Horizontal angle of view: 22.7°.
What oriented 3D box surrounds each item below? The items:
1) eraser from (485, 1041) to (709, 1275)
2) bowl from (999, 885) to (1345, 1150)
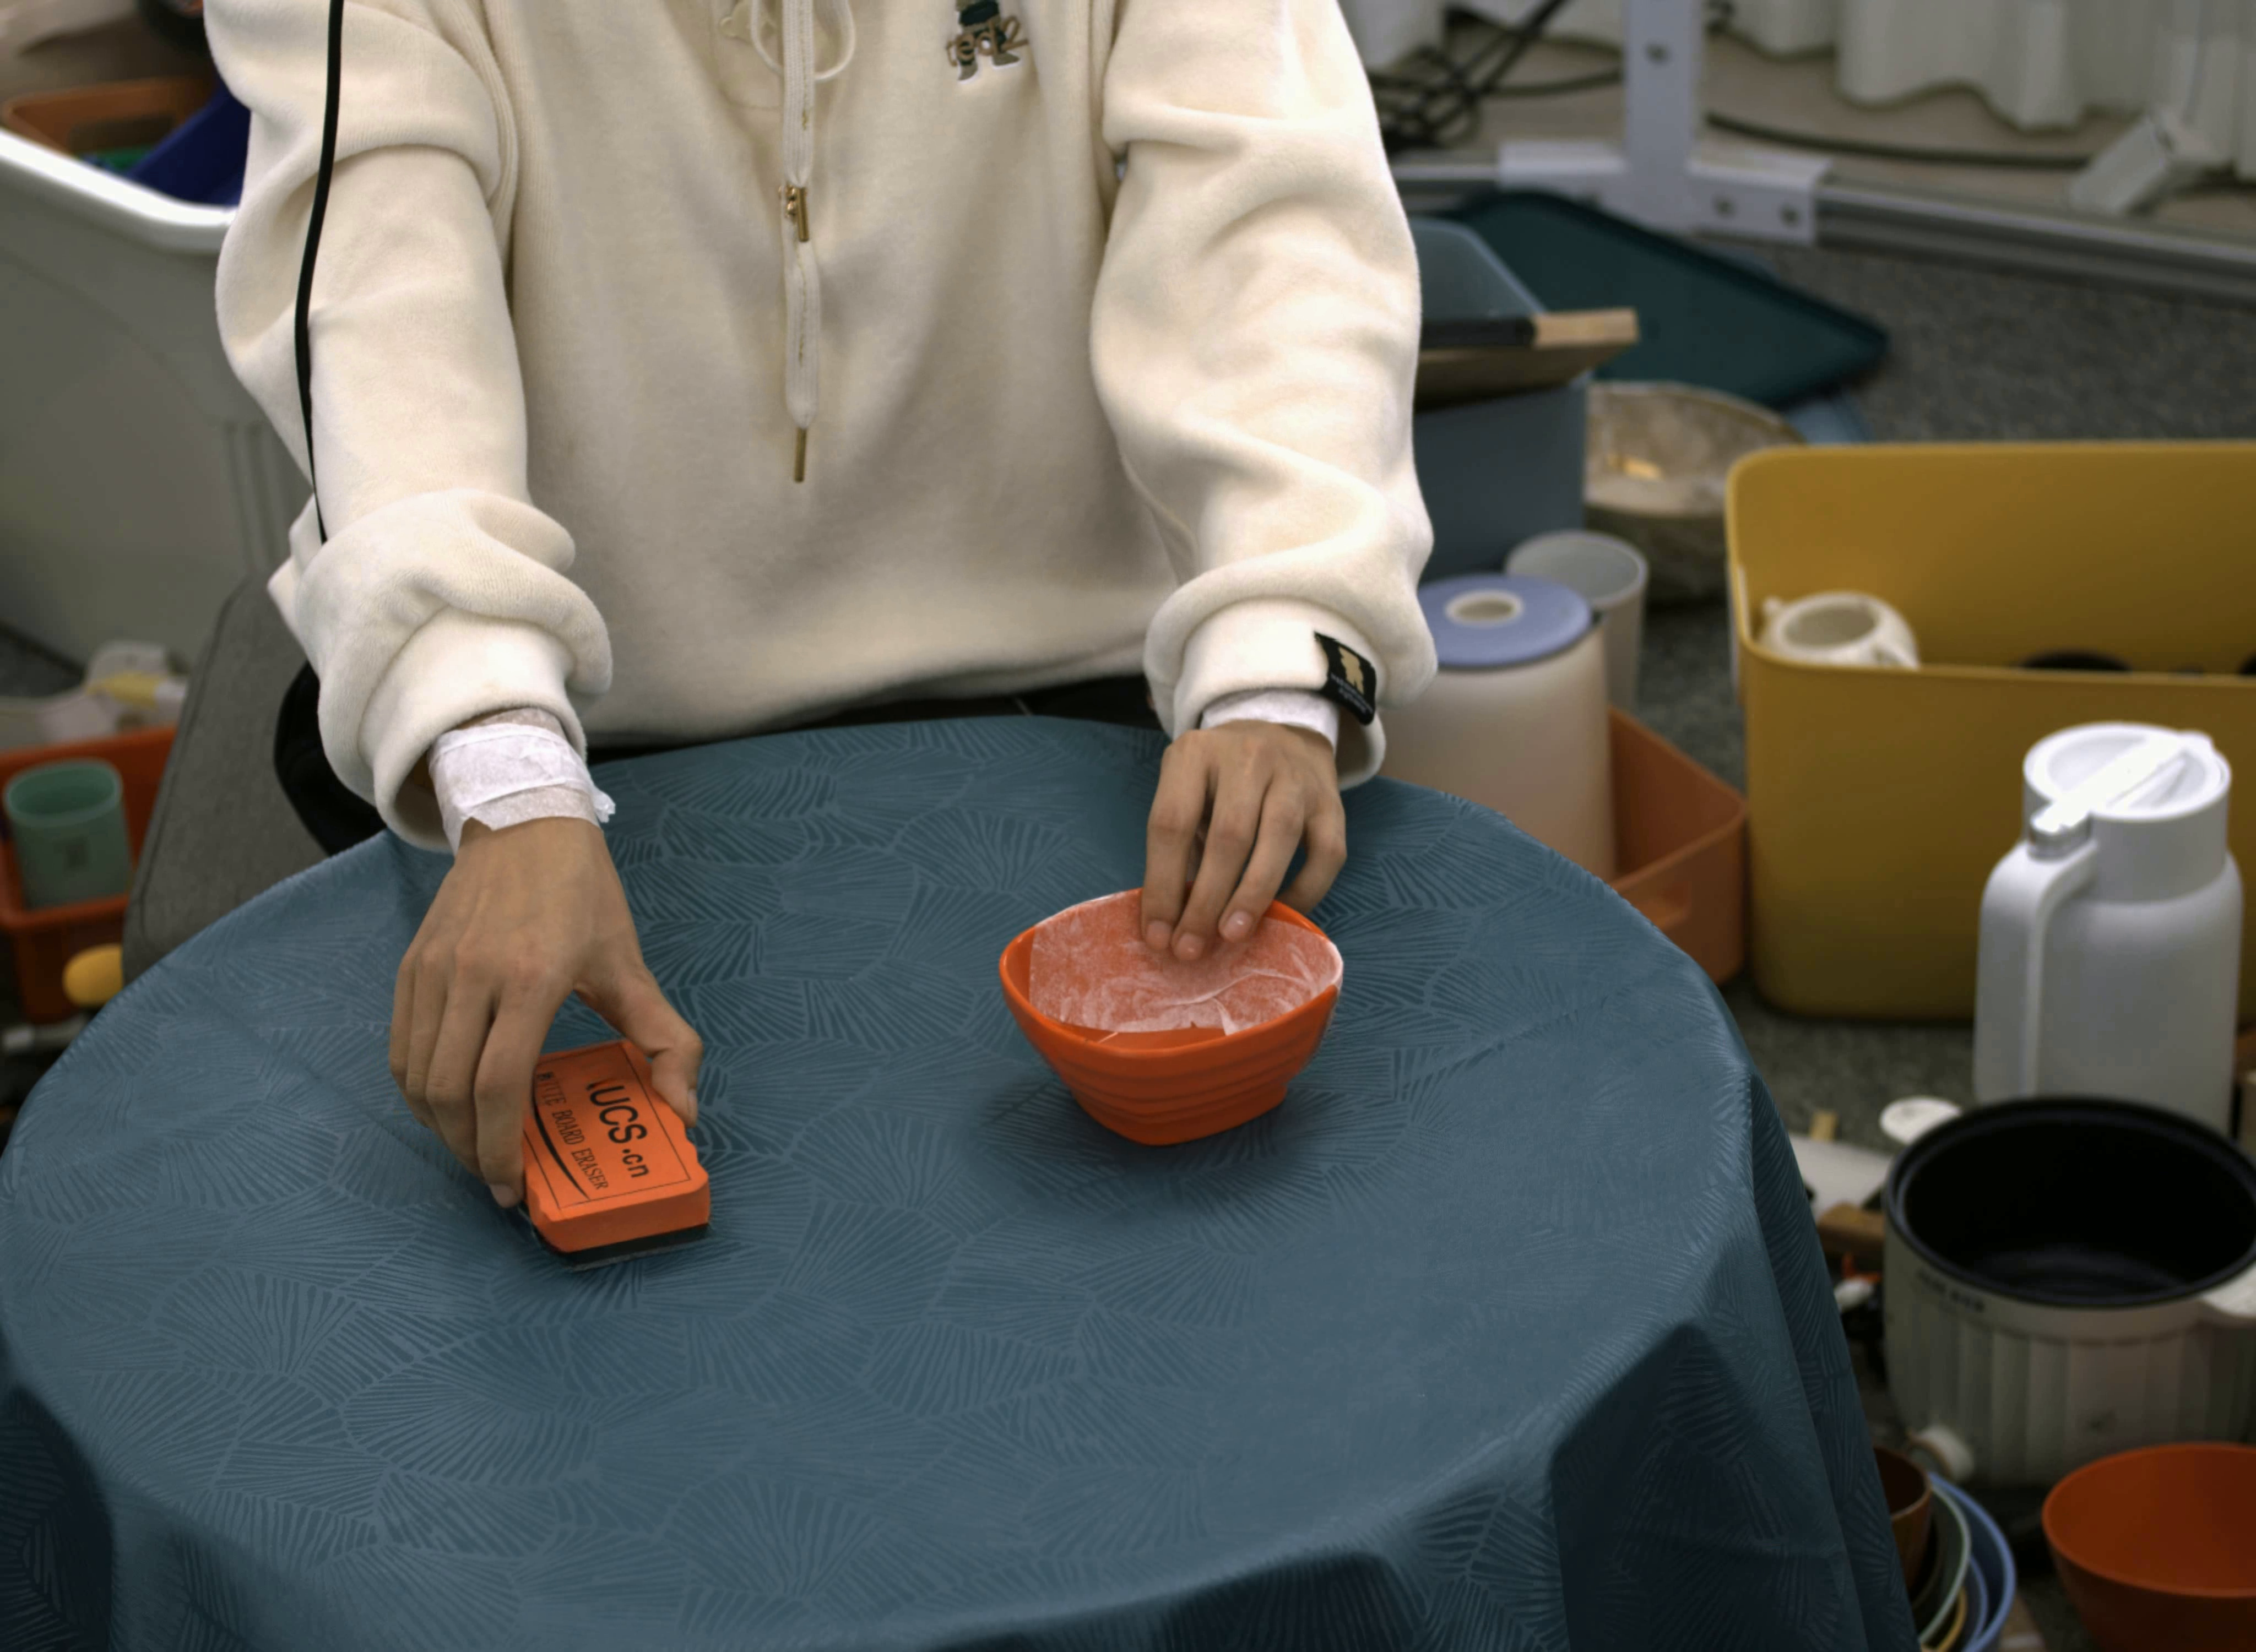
[{"bbox_3d":[-0.178,0.110,1.876,0.059,0.022,0.109,-12,28,-13],"label":"eraser"},{"bbox_3d":[0.016,0.069,1.908,0.118,0.051,0.121,-4,27,2],"label":"bowl"}]
